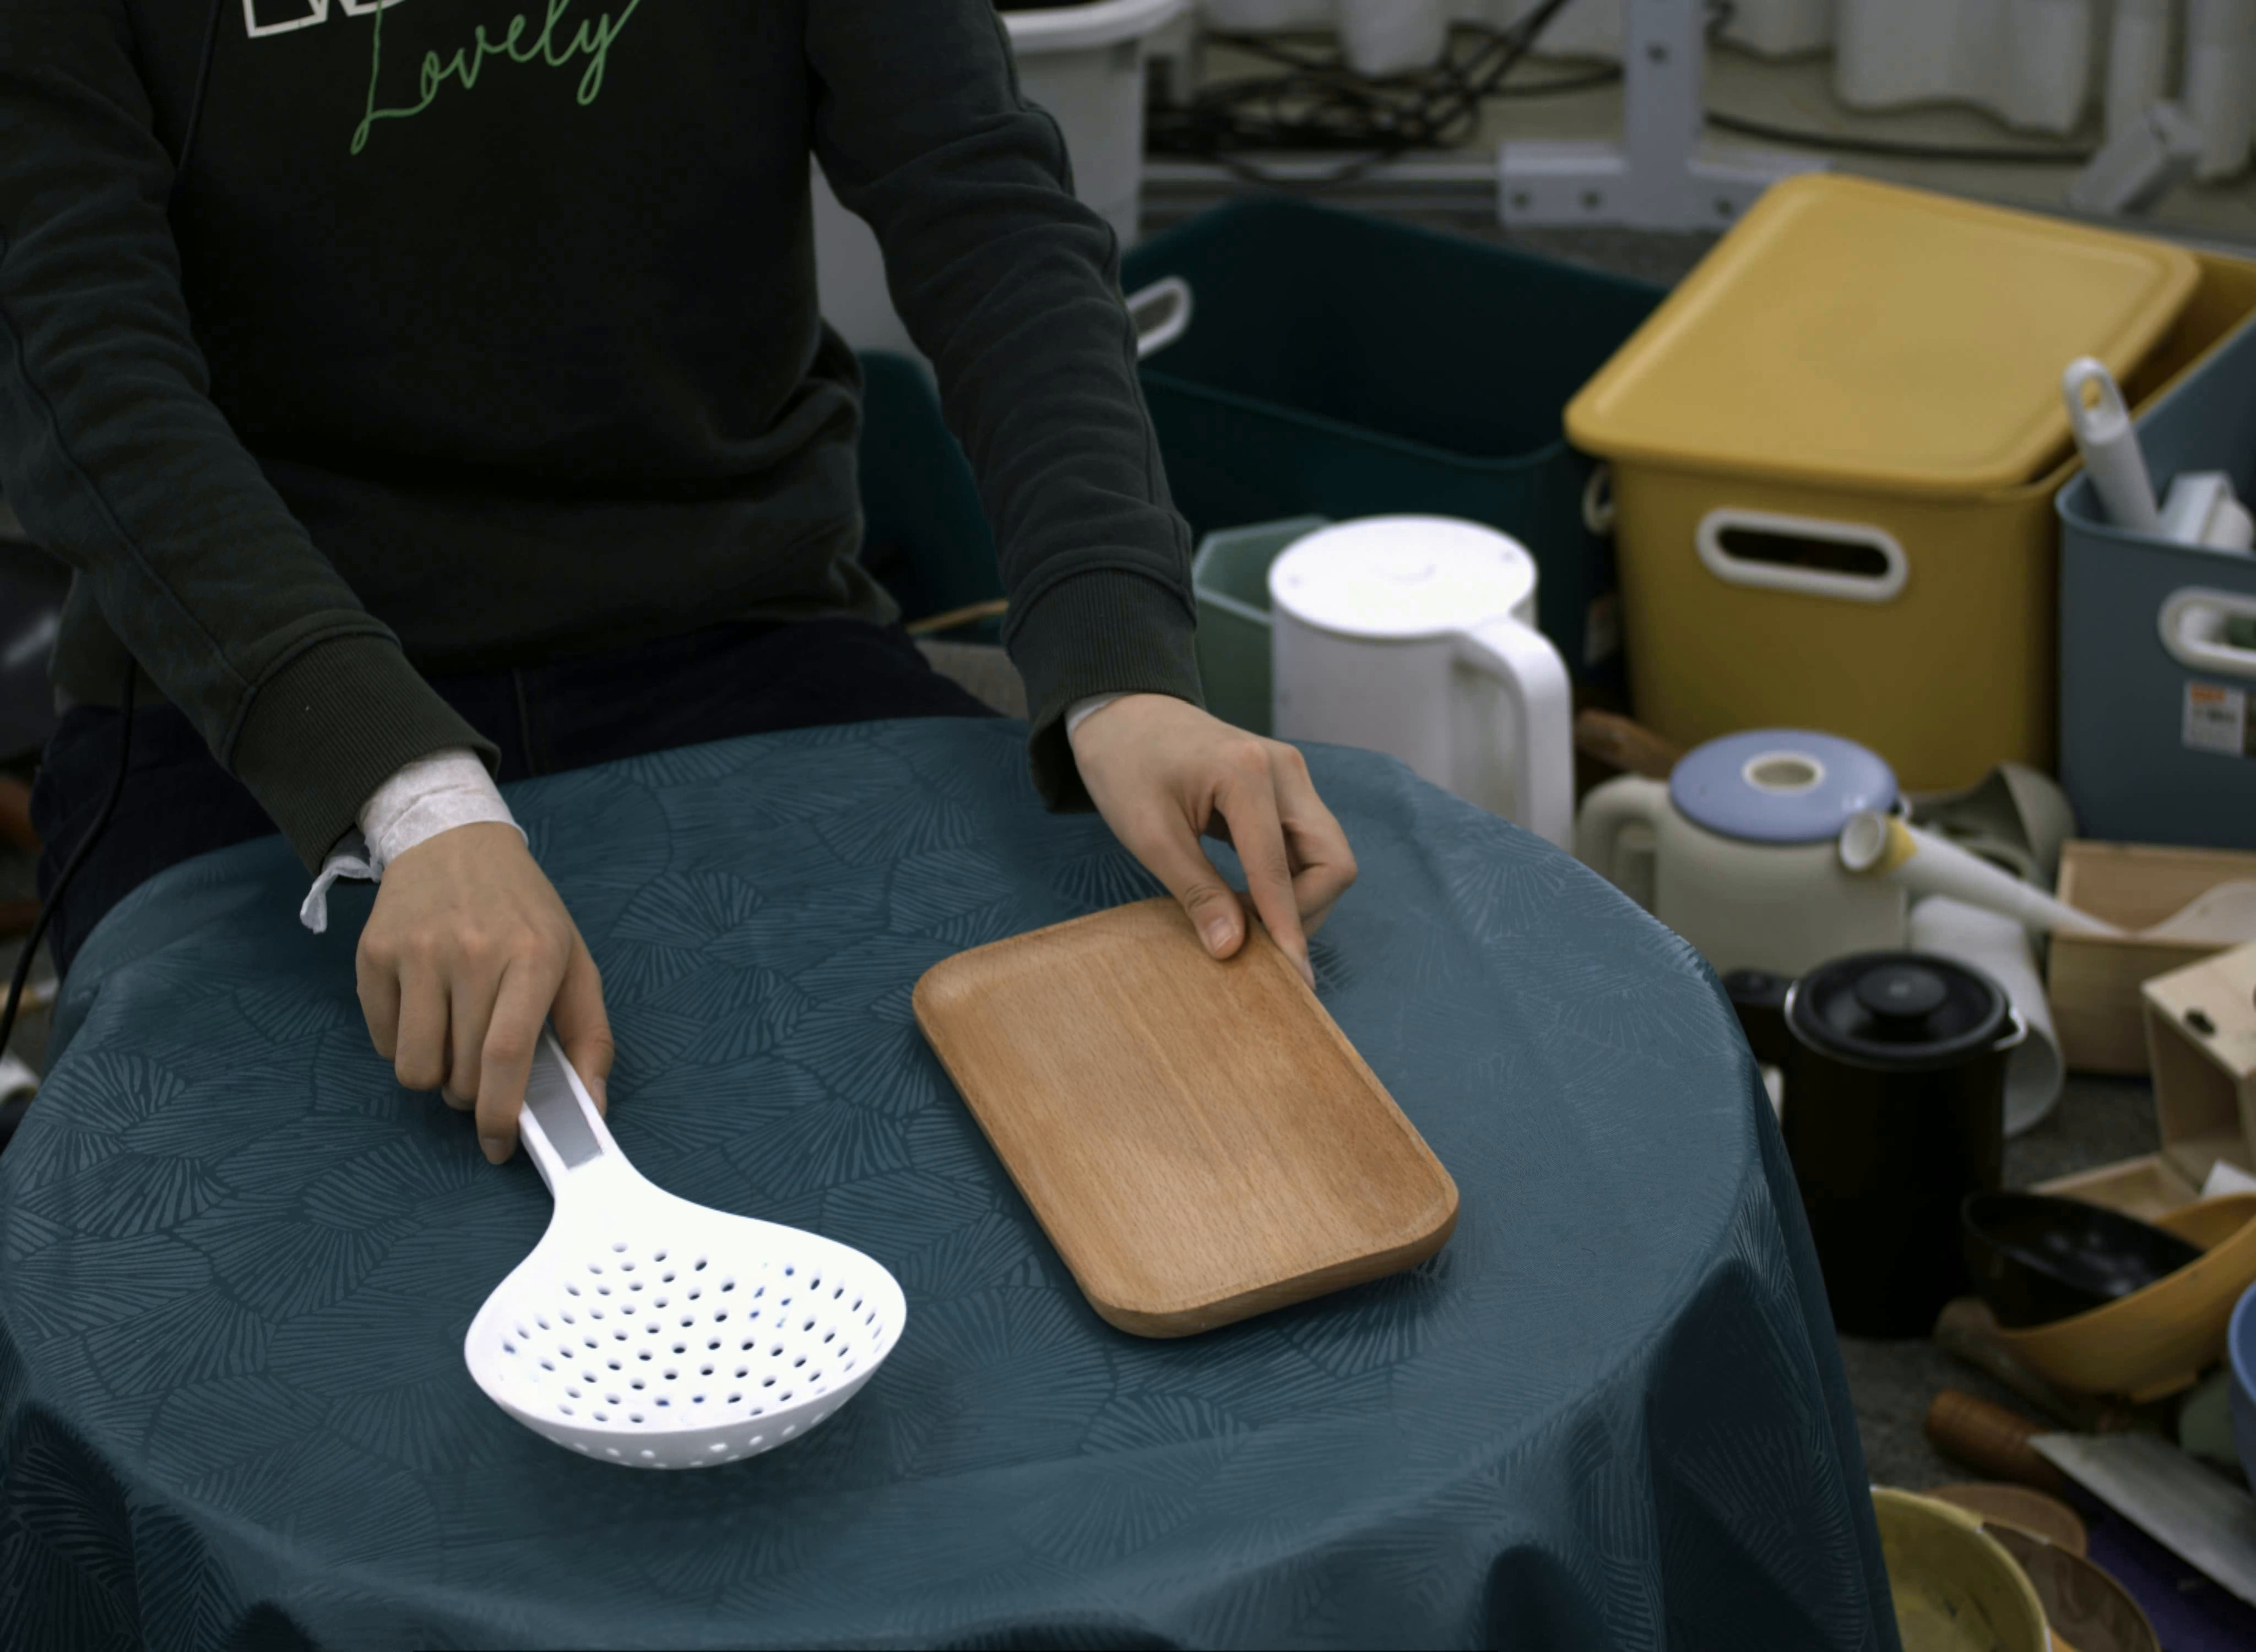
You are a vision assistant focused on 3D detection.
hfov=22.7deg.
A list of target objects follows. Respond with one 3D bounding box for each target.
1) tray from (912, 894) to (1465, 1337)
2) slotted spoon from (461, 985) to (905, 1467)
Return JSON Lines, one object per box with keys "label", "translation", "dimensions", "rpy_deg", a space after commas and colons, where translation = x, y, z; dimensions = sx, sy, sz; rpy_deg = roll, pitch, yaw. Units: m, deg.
{"label": "tray", "translation": [0.017, 0.094, 1.885], "dimensions": [0.131, 0.022, 0.253], "rpy_deg": [-13, 28, -13]}
{"label": "slotted spoon", "translation": [-0.170, 0.123, 1.825], "dimensions": [0.136, 0.045, 0.353], "rpy_deg": [-9, 27, -16]}
